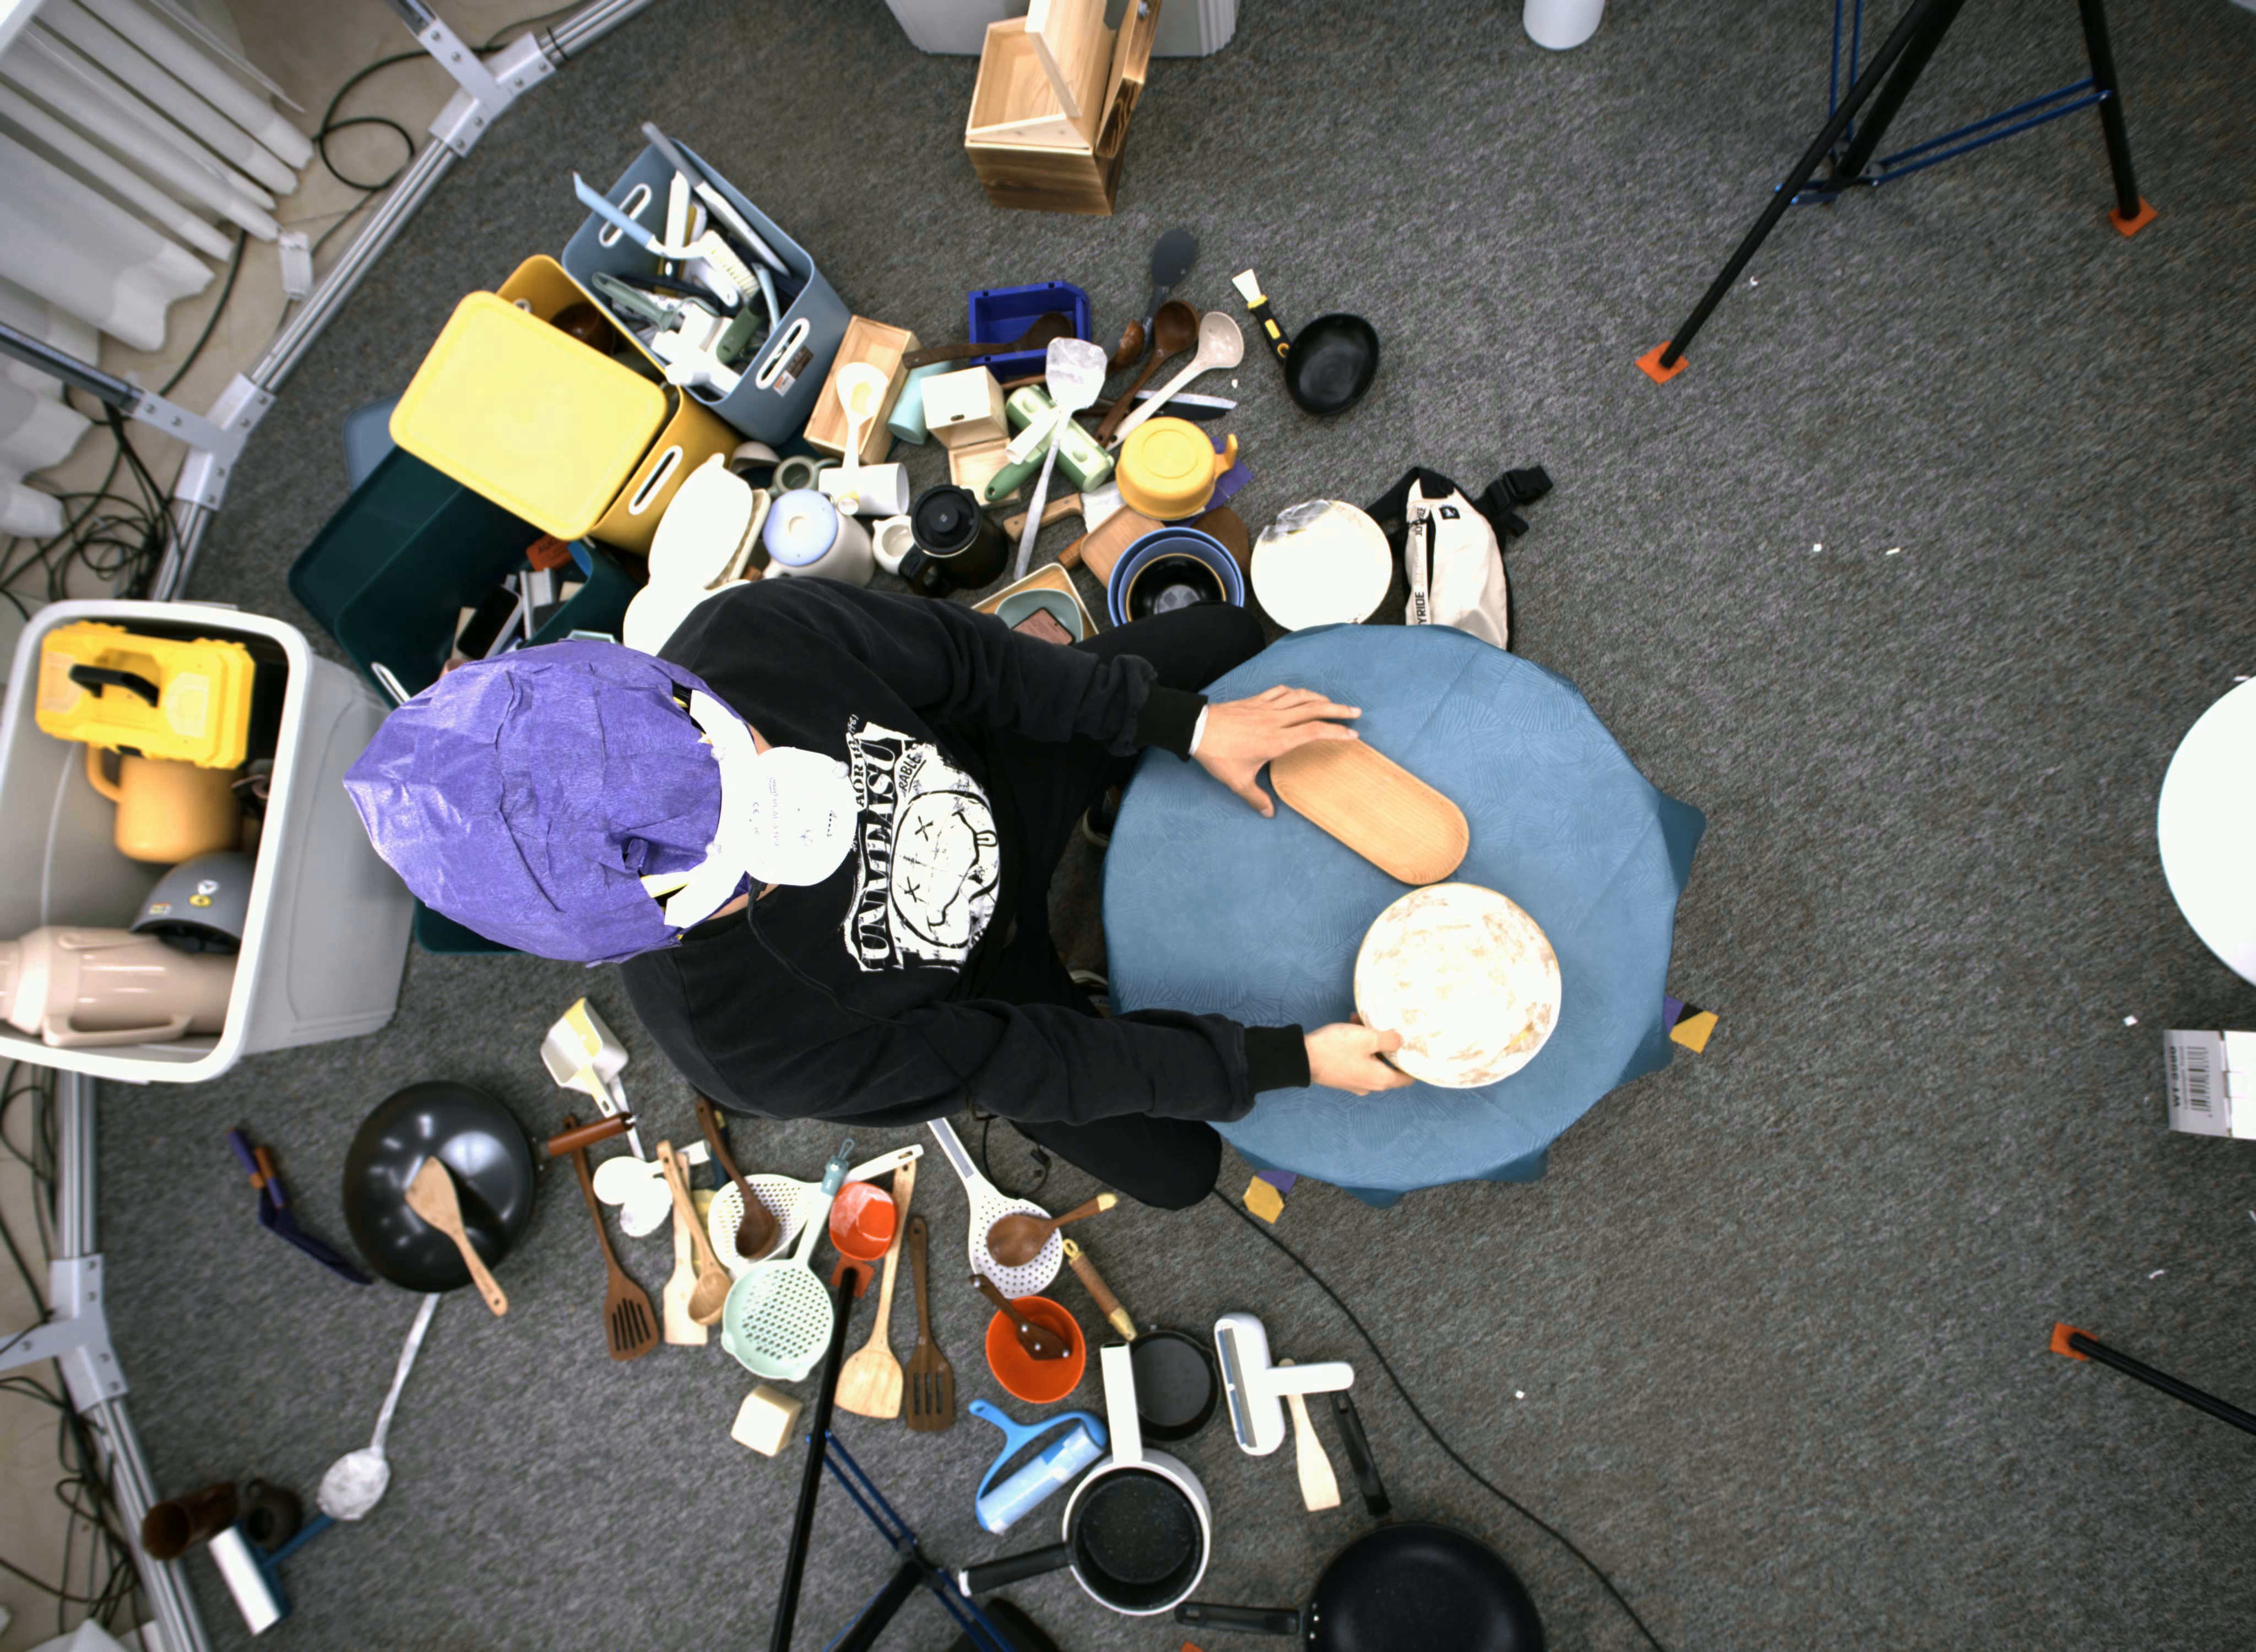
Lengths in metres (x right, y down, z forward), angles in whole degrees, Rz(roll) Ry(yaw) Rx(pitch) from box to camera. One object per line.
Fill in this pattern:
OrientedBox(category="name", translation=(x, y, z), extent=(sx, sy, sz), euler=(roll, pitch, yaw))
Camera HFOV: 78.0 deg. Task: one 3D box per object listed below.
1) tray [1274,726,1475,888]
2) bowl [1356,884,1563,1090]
OrientedBox(category="tray", translation=(0.260, -0.022, 1.465), extent=(0.230, 0.020, 0.102), euler=(34, 95, 9))
OrientedBox(category="bowl", translation=(0.332, 0.155, 1.399), extent=(0.215, 0.094, 0.214), euler=(0, 90, 11))
